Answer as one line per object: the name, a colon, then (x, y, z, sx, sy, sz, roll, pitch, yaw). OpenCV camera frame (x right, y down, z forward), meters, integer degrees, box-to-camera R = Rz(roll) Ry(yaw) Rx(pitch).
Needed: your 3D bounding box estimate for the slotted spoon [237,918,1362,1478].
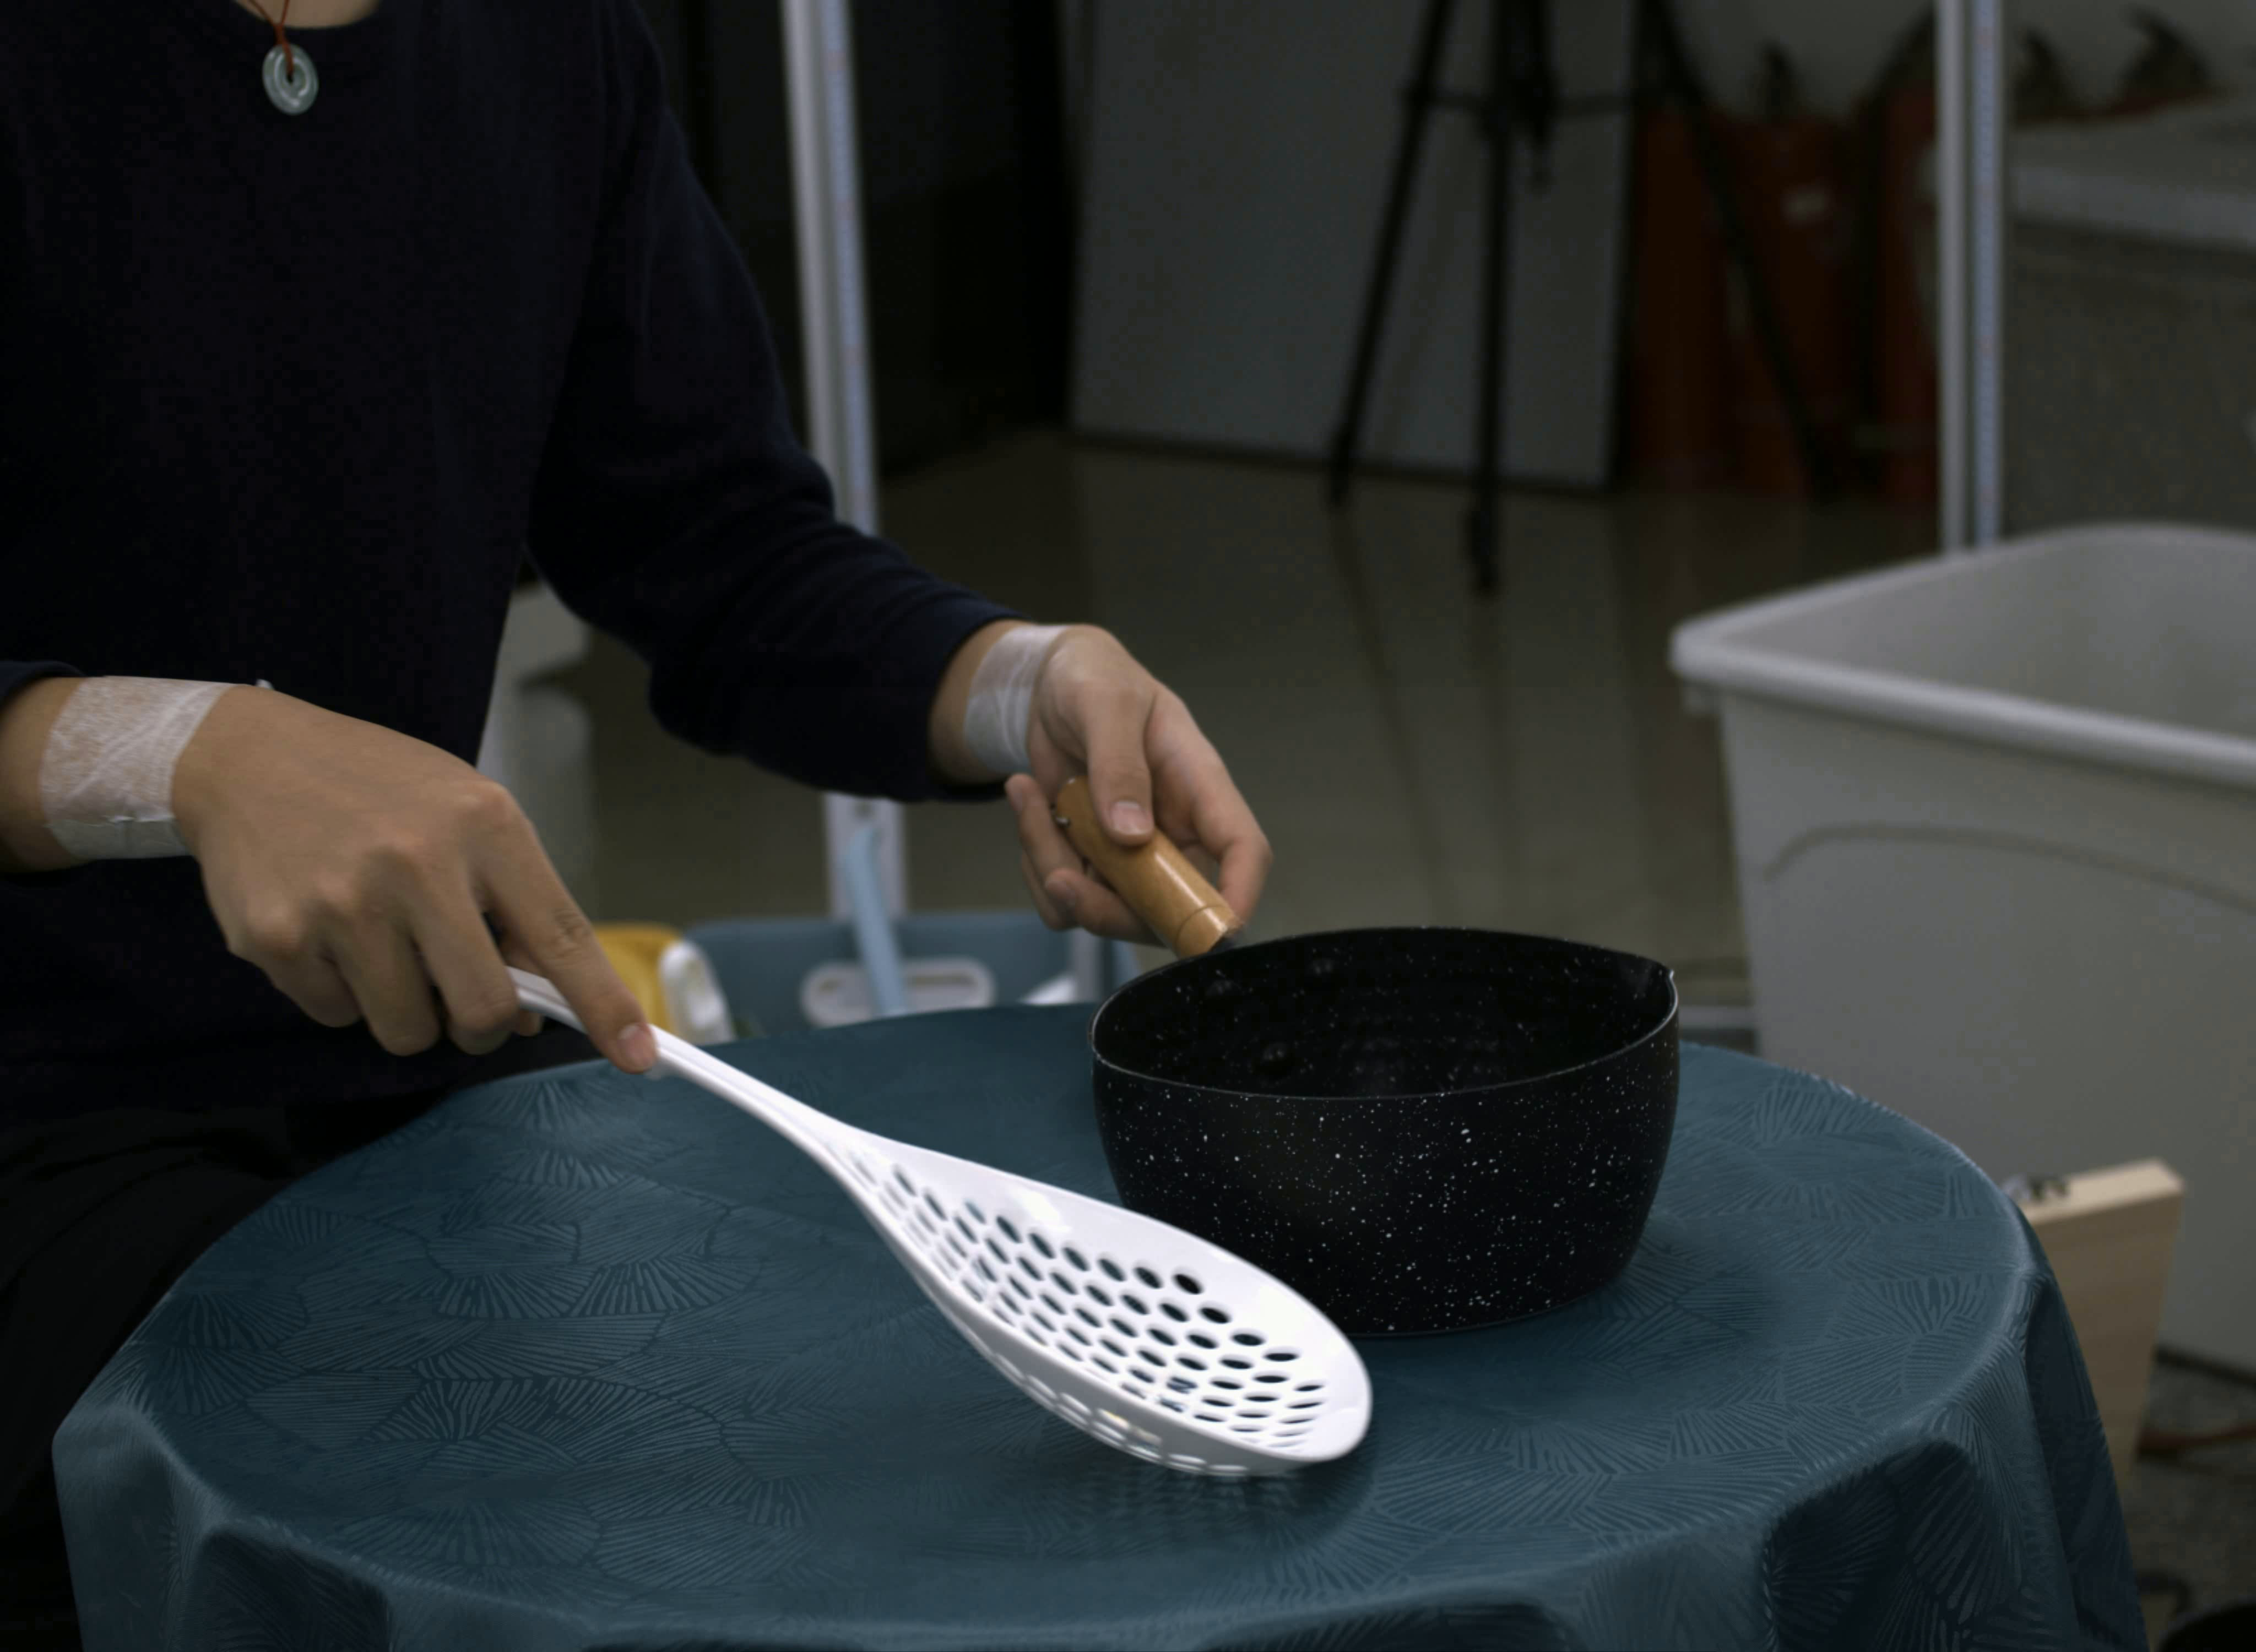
slotted spoon: (-0.092, 0.096, 1.533, 0.346, 0.051, 0.136, 31, 17, 2)

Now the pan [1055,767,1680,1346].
pan: (0.049, 0.068, 1.743, 0.203, 0.109, 0.346, -11, 16, -21)
